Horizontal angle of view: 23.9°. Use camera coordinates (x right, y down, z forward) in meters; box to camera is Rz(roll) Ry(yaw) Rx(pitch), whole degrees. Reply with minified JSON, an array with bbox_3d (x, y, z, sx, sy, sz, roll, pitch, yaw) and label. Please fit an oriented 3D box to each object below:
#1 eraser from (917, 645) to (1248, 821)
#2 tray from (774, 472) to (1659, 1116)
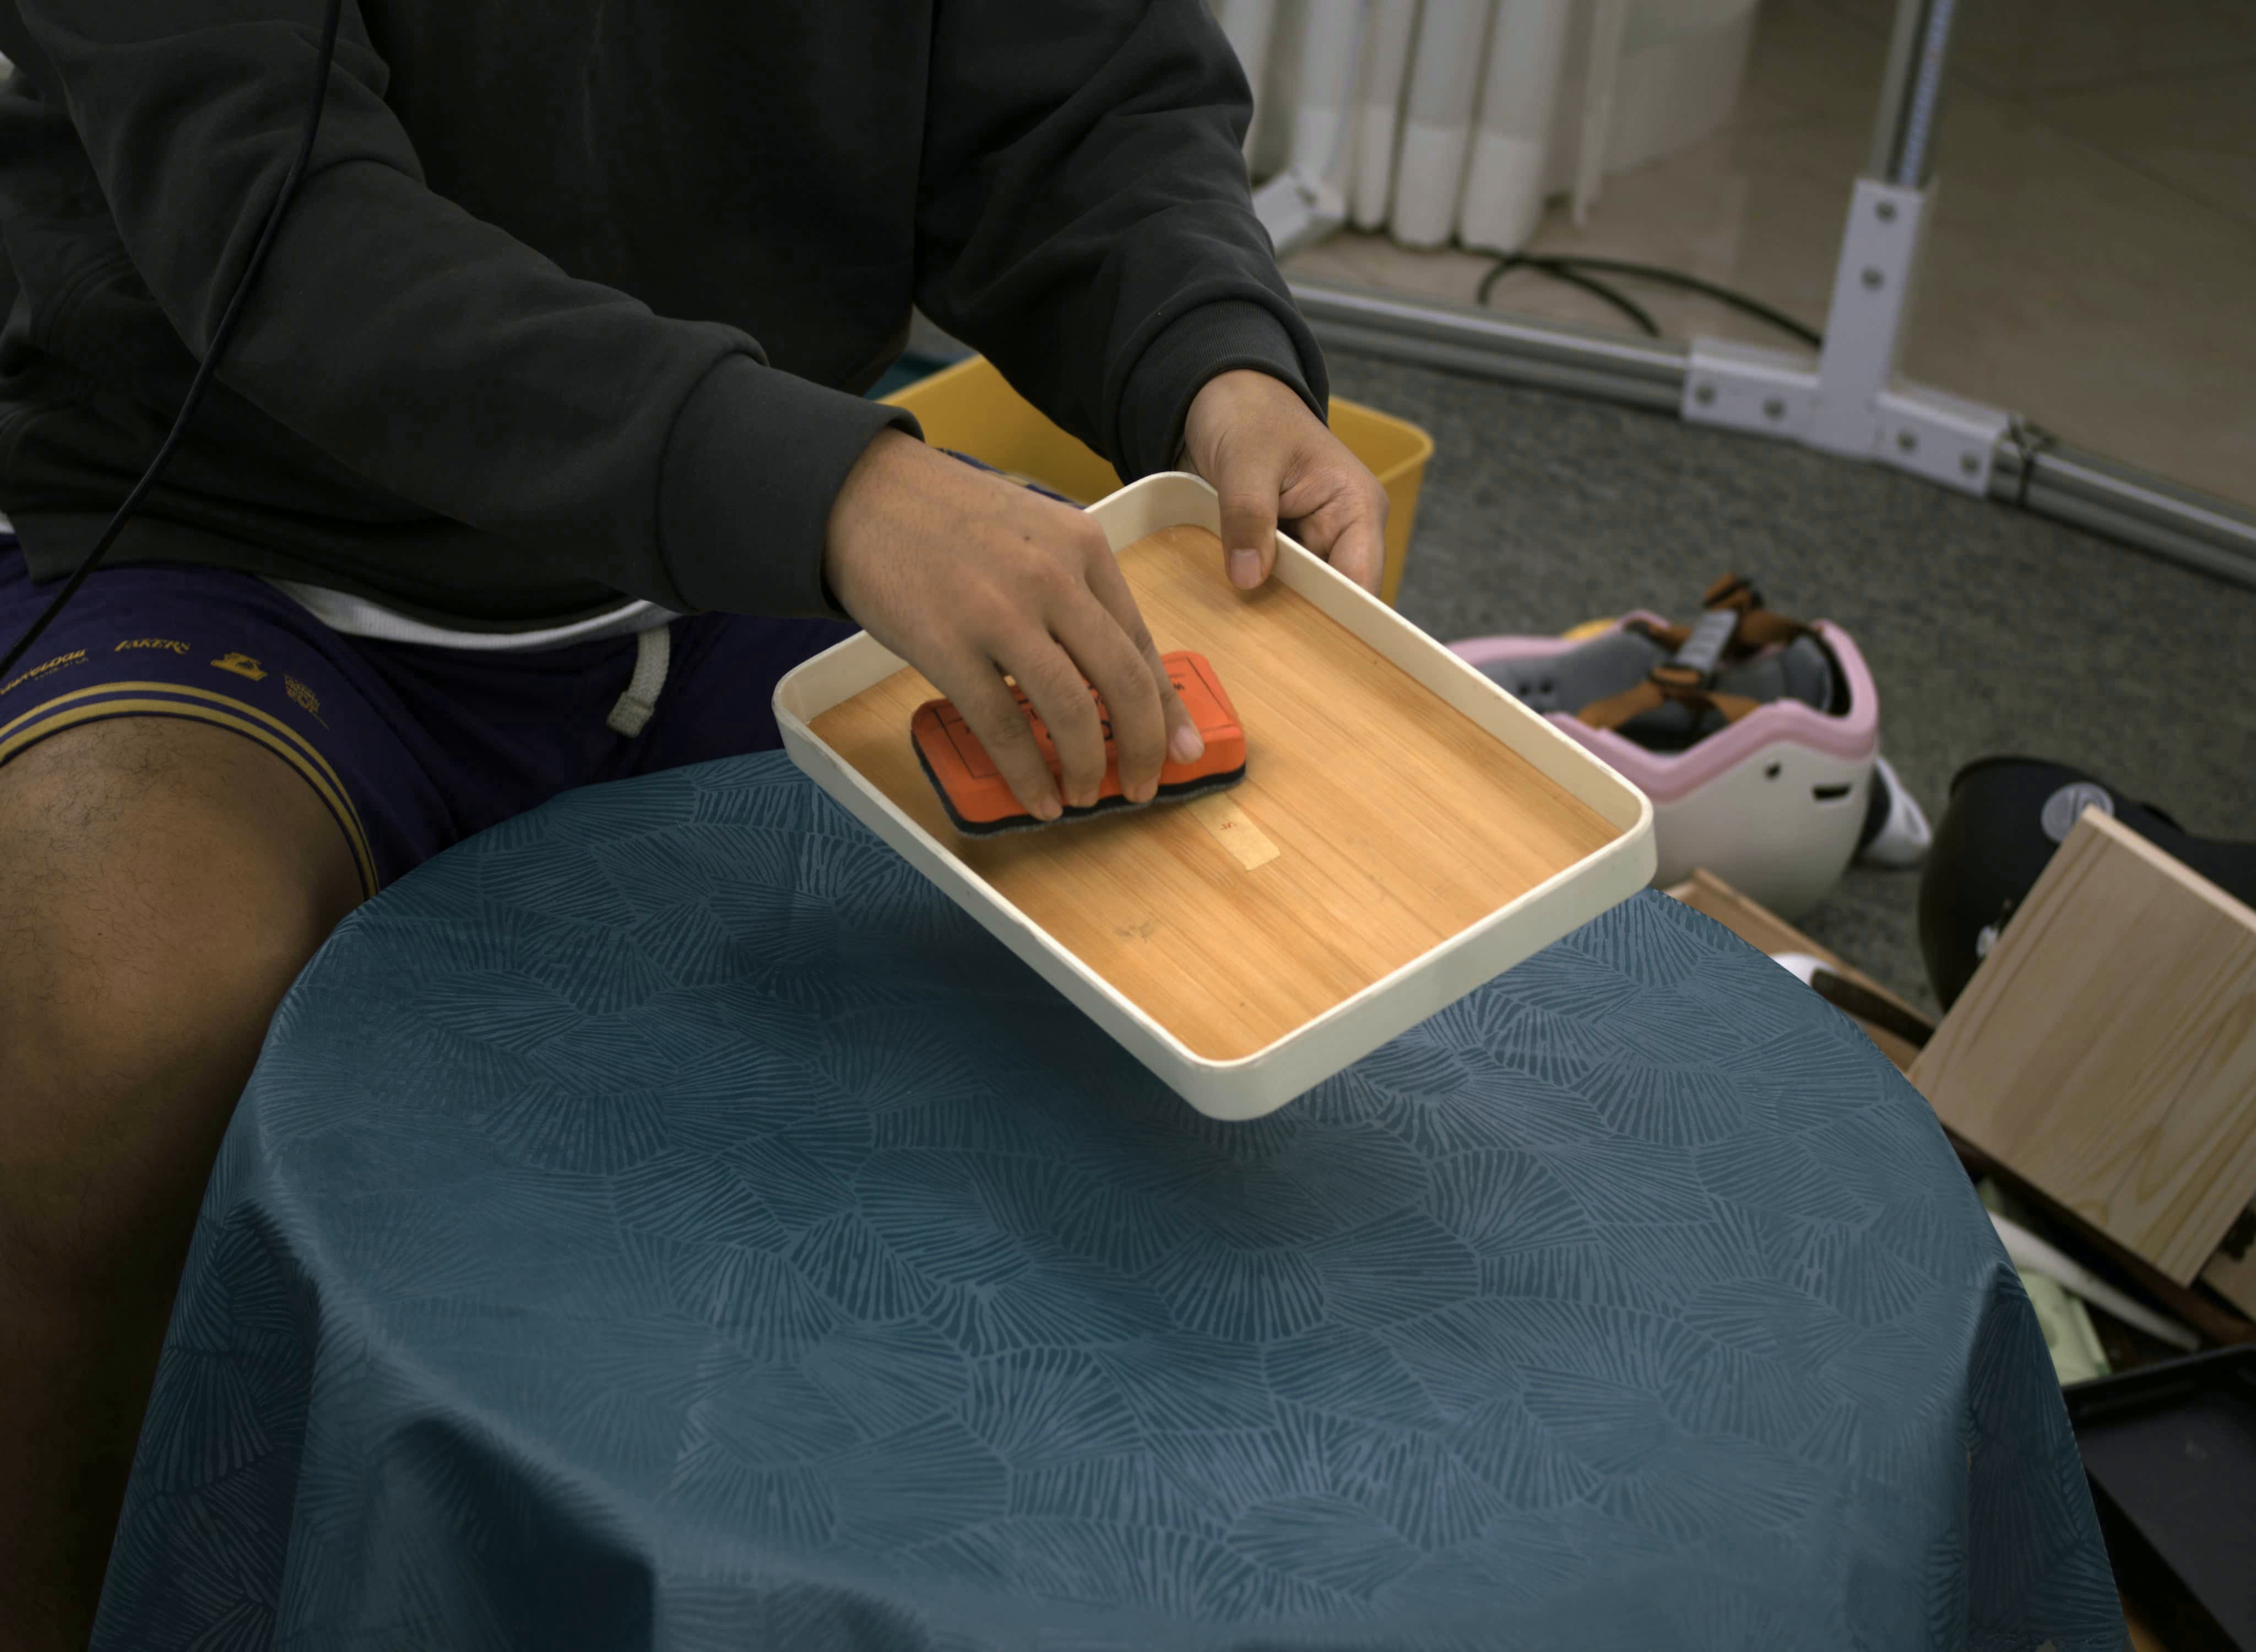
[{"bbox_3d":[-0.016,-0.033,1.855,0.107,0.023,0.059,-14,28,-16],"label":"eraser"},{"bbox_3d":[0.026,-0.018,1.852,0.191,0.027,0.303,-29,40,-19],"label":"tray"}]
